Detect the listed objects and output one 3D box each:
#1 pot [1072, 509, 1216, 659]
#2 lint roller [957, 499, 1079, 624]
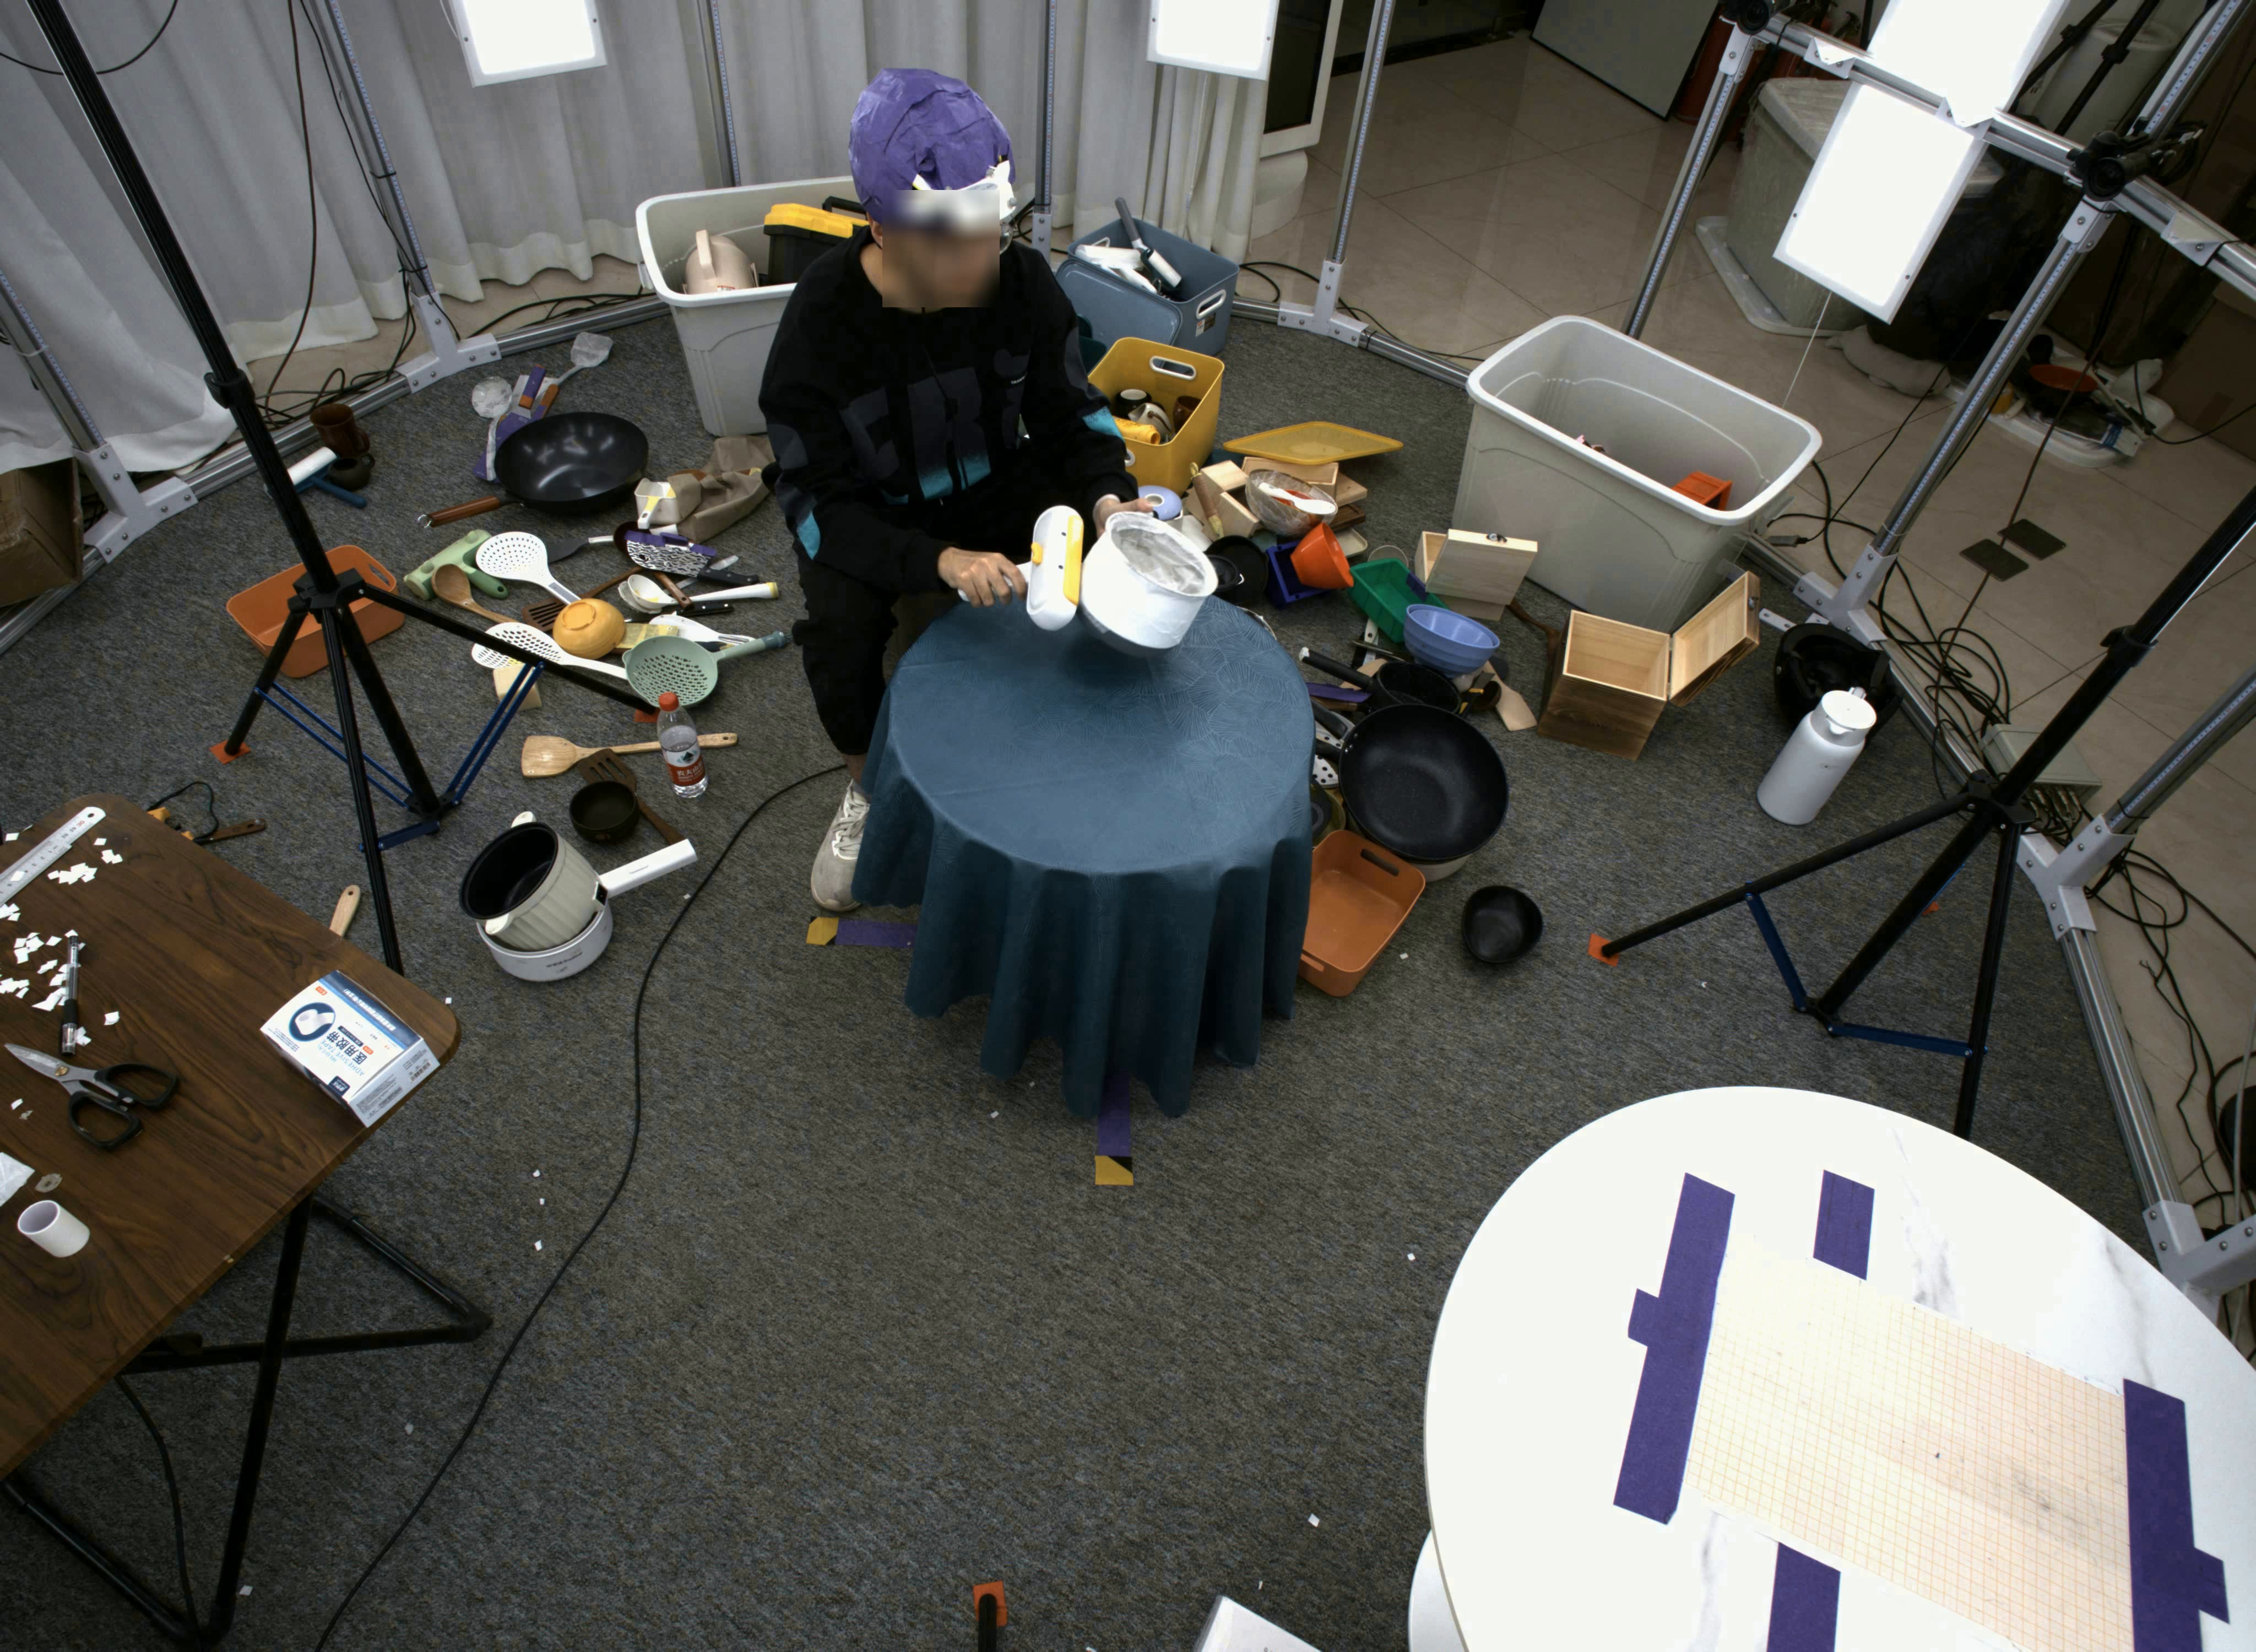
[{"bbox_3d":[0.010,-0.354,1.821,0.177,0.134,0.239,15,41,-28],"label":"pot"},{"bbox_3d":[-0.152,-0.354,1.815,0.191,0.073,0.197,-21,59,31],"label":"lint roller"}]
